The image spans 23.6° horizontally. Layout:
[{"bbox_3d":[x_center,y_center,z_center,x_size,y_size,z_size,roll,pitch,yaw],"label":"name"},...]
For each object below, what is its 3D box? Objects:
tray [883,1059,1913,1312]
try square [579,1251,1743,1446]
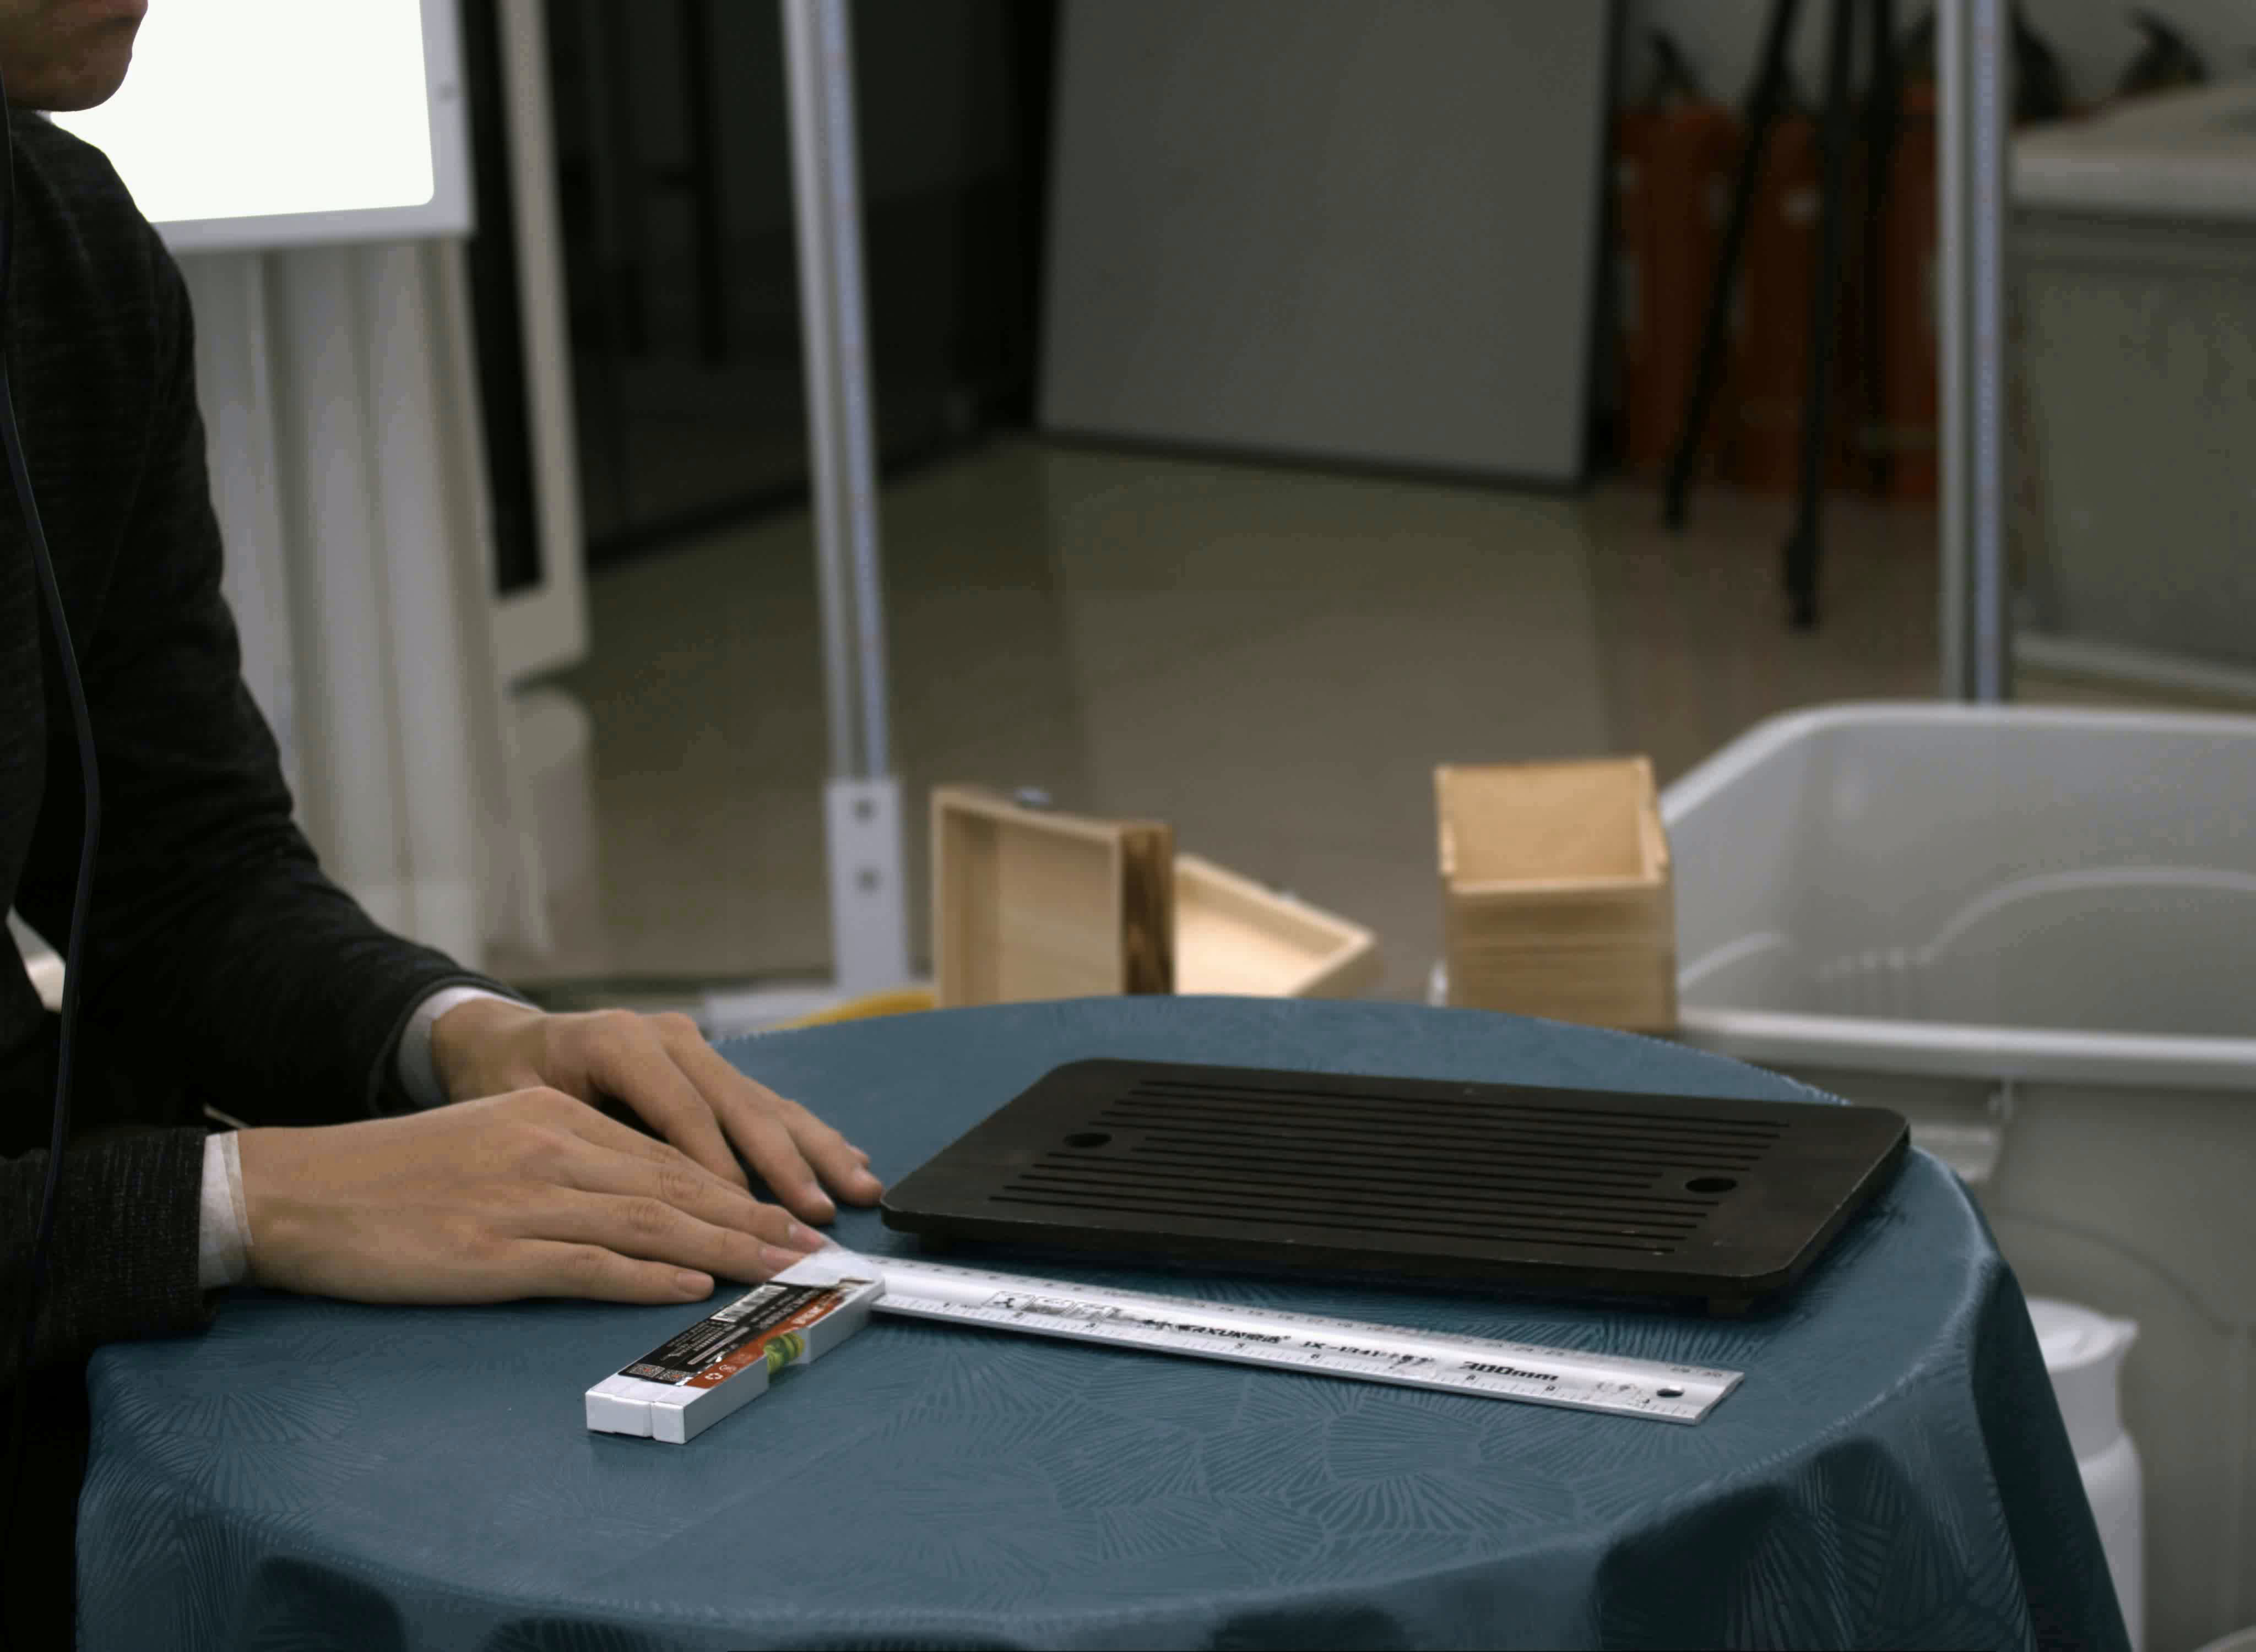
[{"bbox_3d":[0.088,0.114,1.734,0.306,0.019,0.168,2,15,25],"label":"tray"},{"bbox_3d":[0.008,0.165,1.571,0.314,0.016,0.150,4,16,29],"label":"try square"}]
